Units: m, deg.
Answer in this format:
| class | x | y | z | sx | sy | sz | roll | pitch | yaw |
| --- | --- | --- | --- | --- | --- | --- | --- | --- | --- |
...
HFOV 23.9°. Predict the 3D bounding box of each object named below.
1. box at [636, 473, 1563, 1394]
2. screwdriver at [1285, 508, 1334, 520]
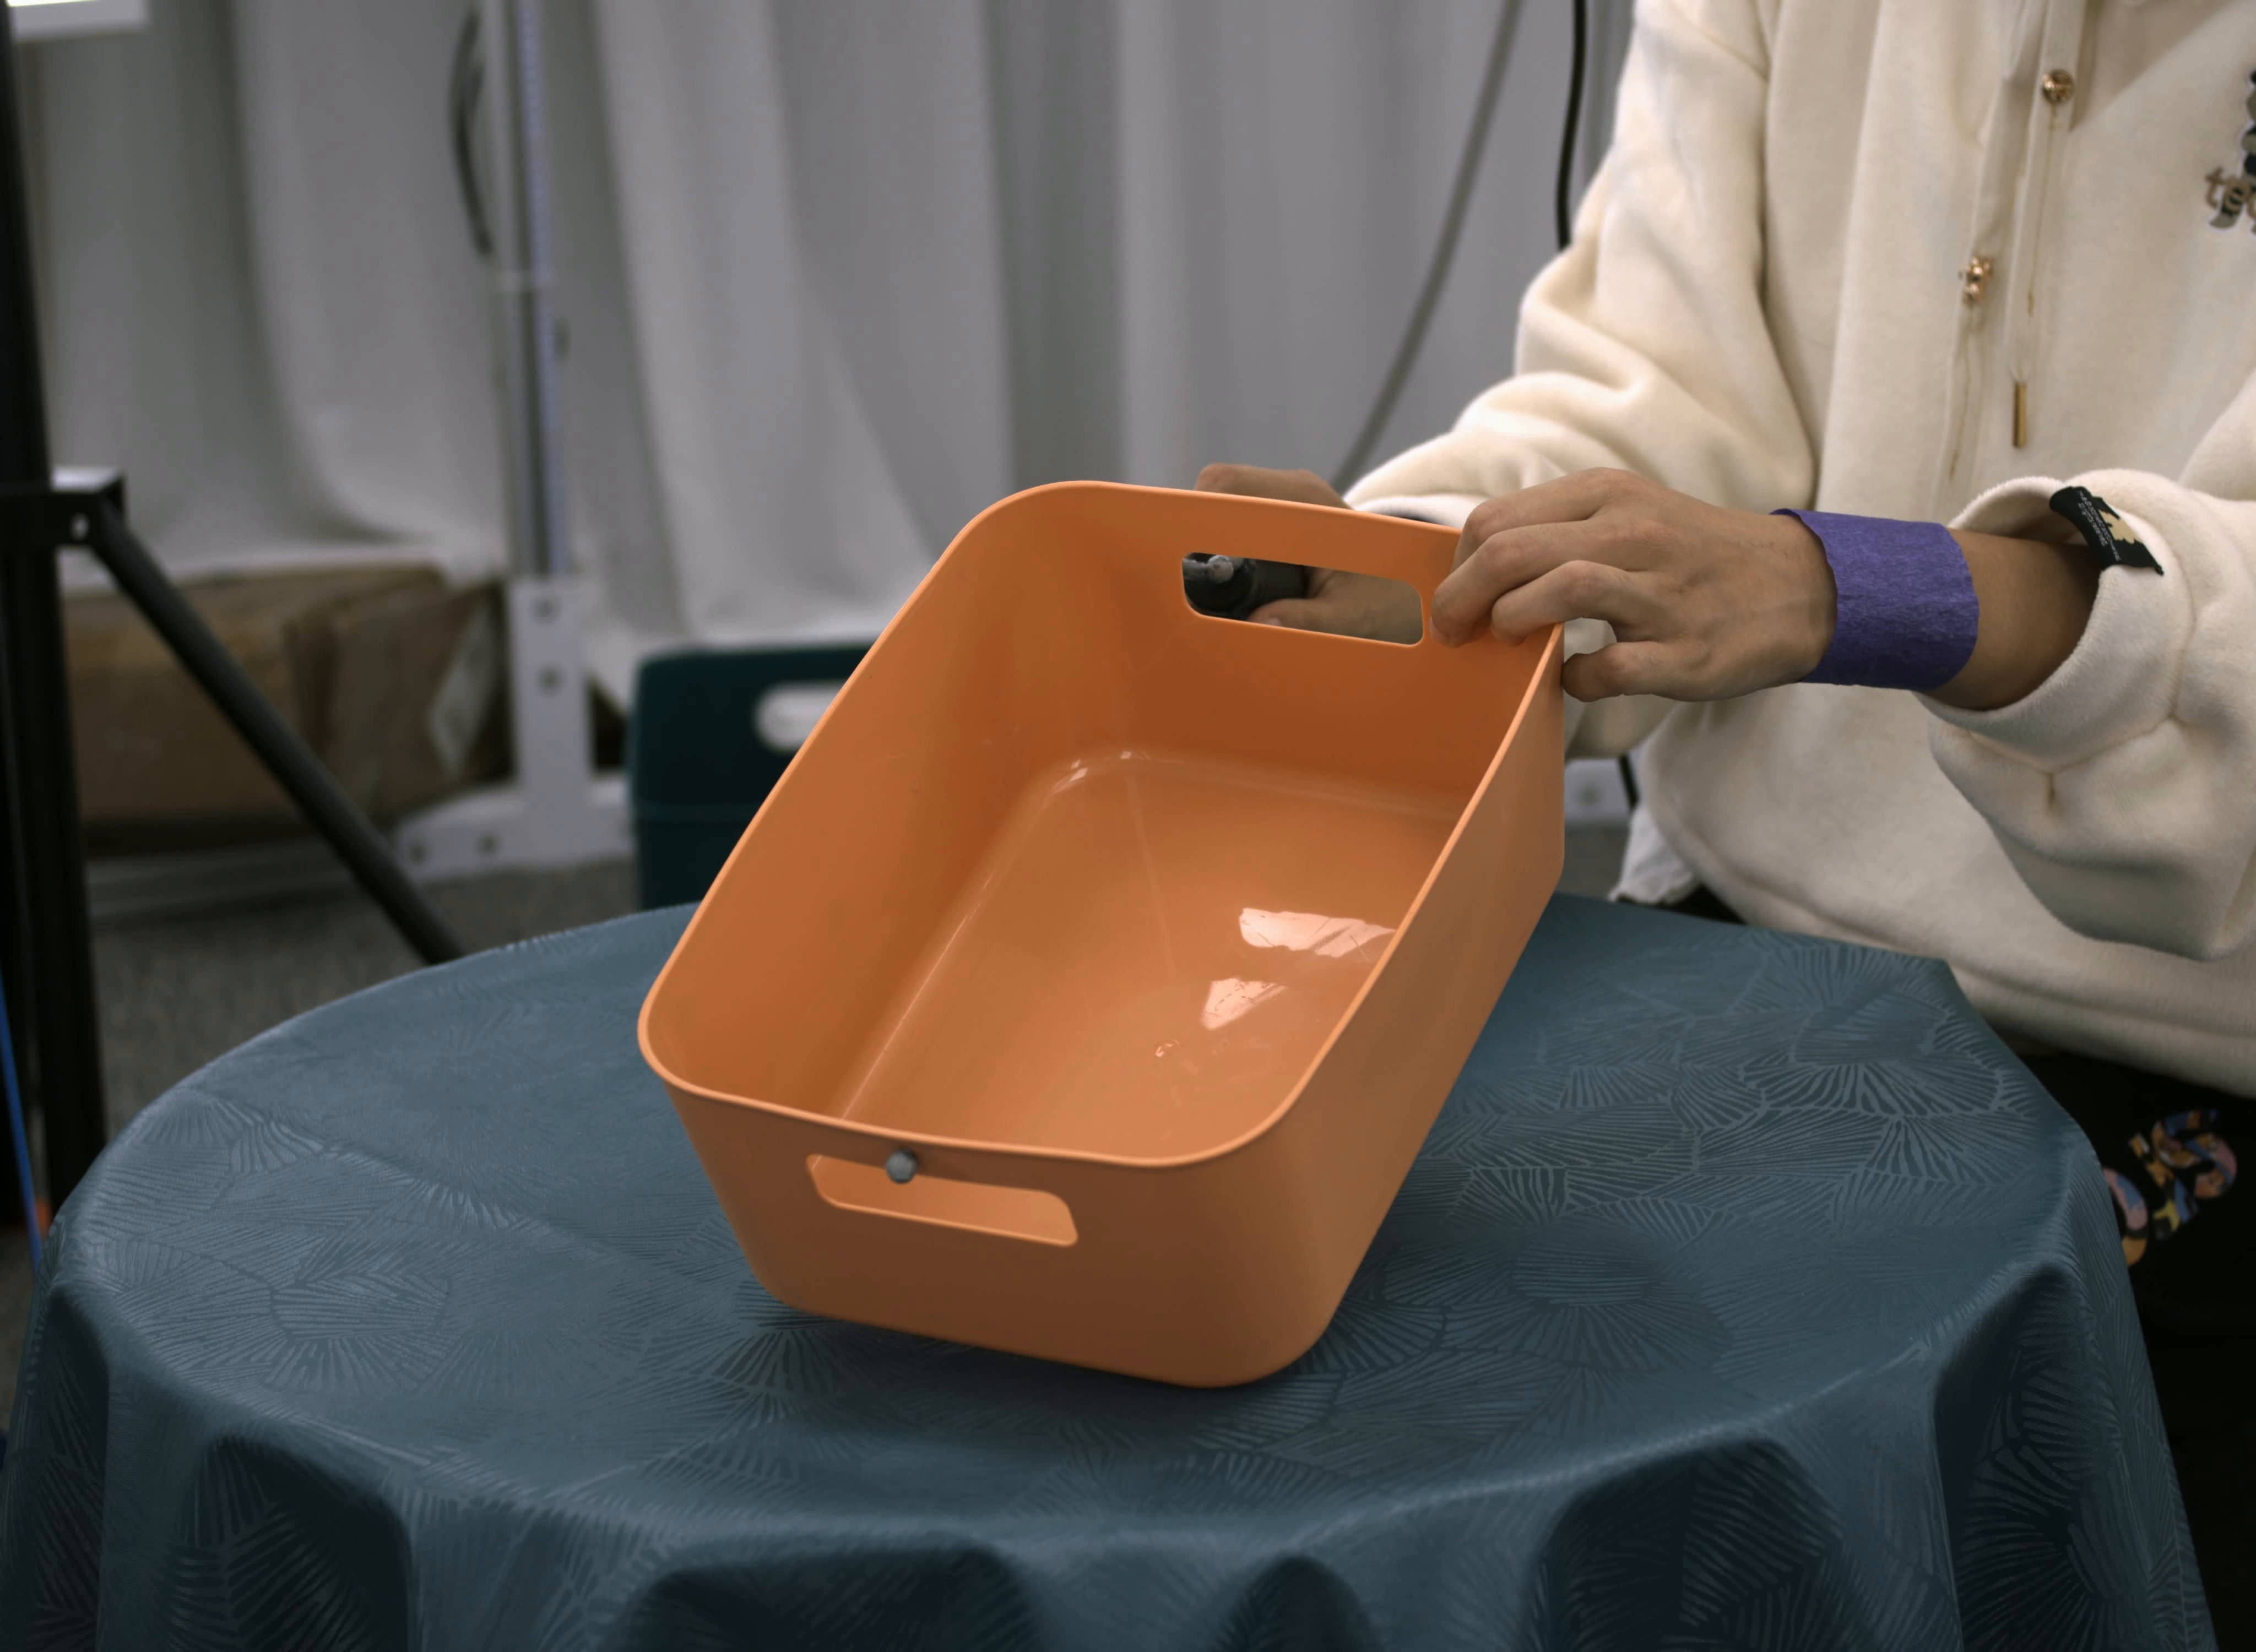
| class | x | y | z | sx | sy | sz | roll | pitch | yaw |
| --- | --- | --- | --- | --- | --- | --- | --- | --- | --- |
| box | 0.005 | 0.029 | 1.478 | 0.202 | 0.101 | 0.272 | 8 | 44 | 25 |
| screwdriver | 0.042 | -0.082 | 1.673 | 0.031 | 0.031 | 0.196 | 2 | 6 | 13 |
